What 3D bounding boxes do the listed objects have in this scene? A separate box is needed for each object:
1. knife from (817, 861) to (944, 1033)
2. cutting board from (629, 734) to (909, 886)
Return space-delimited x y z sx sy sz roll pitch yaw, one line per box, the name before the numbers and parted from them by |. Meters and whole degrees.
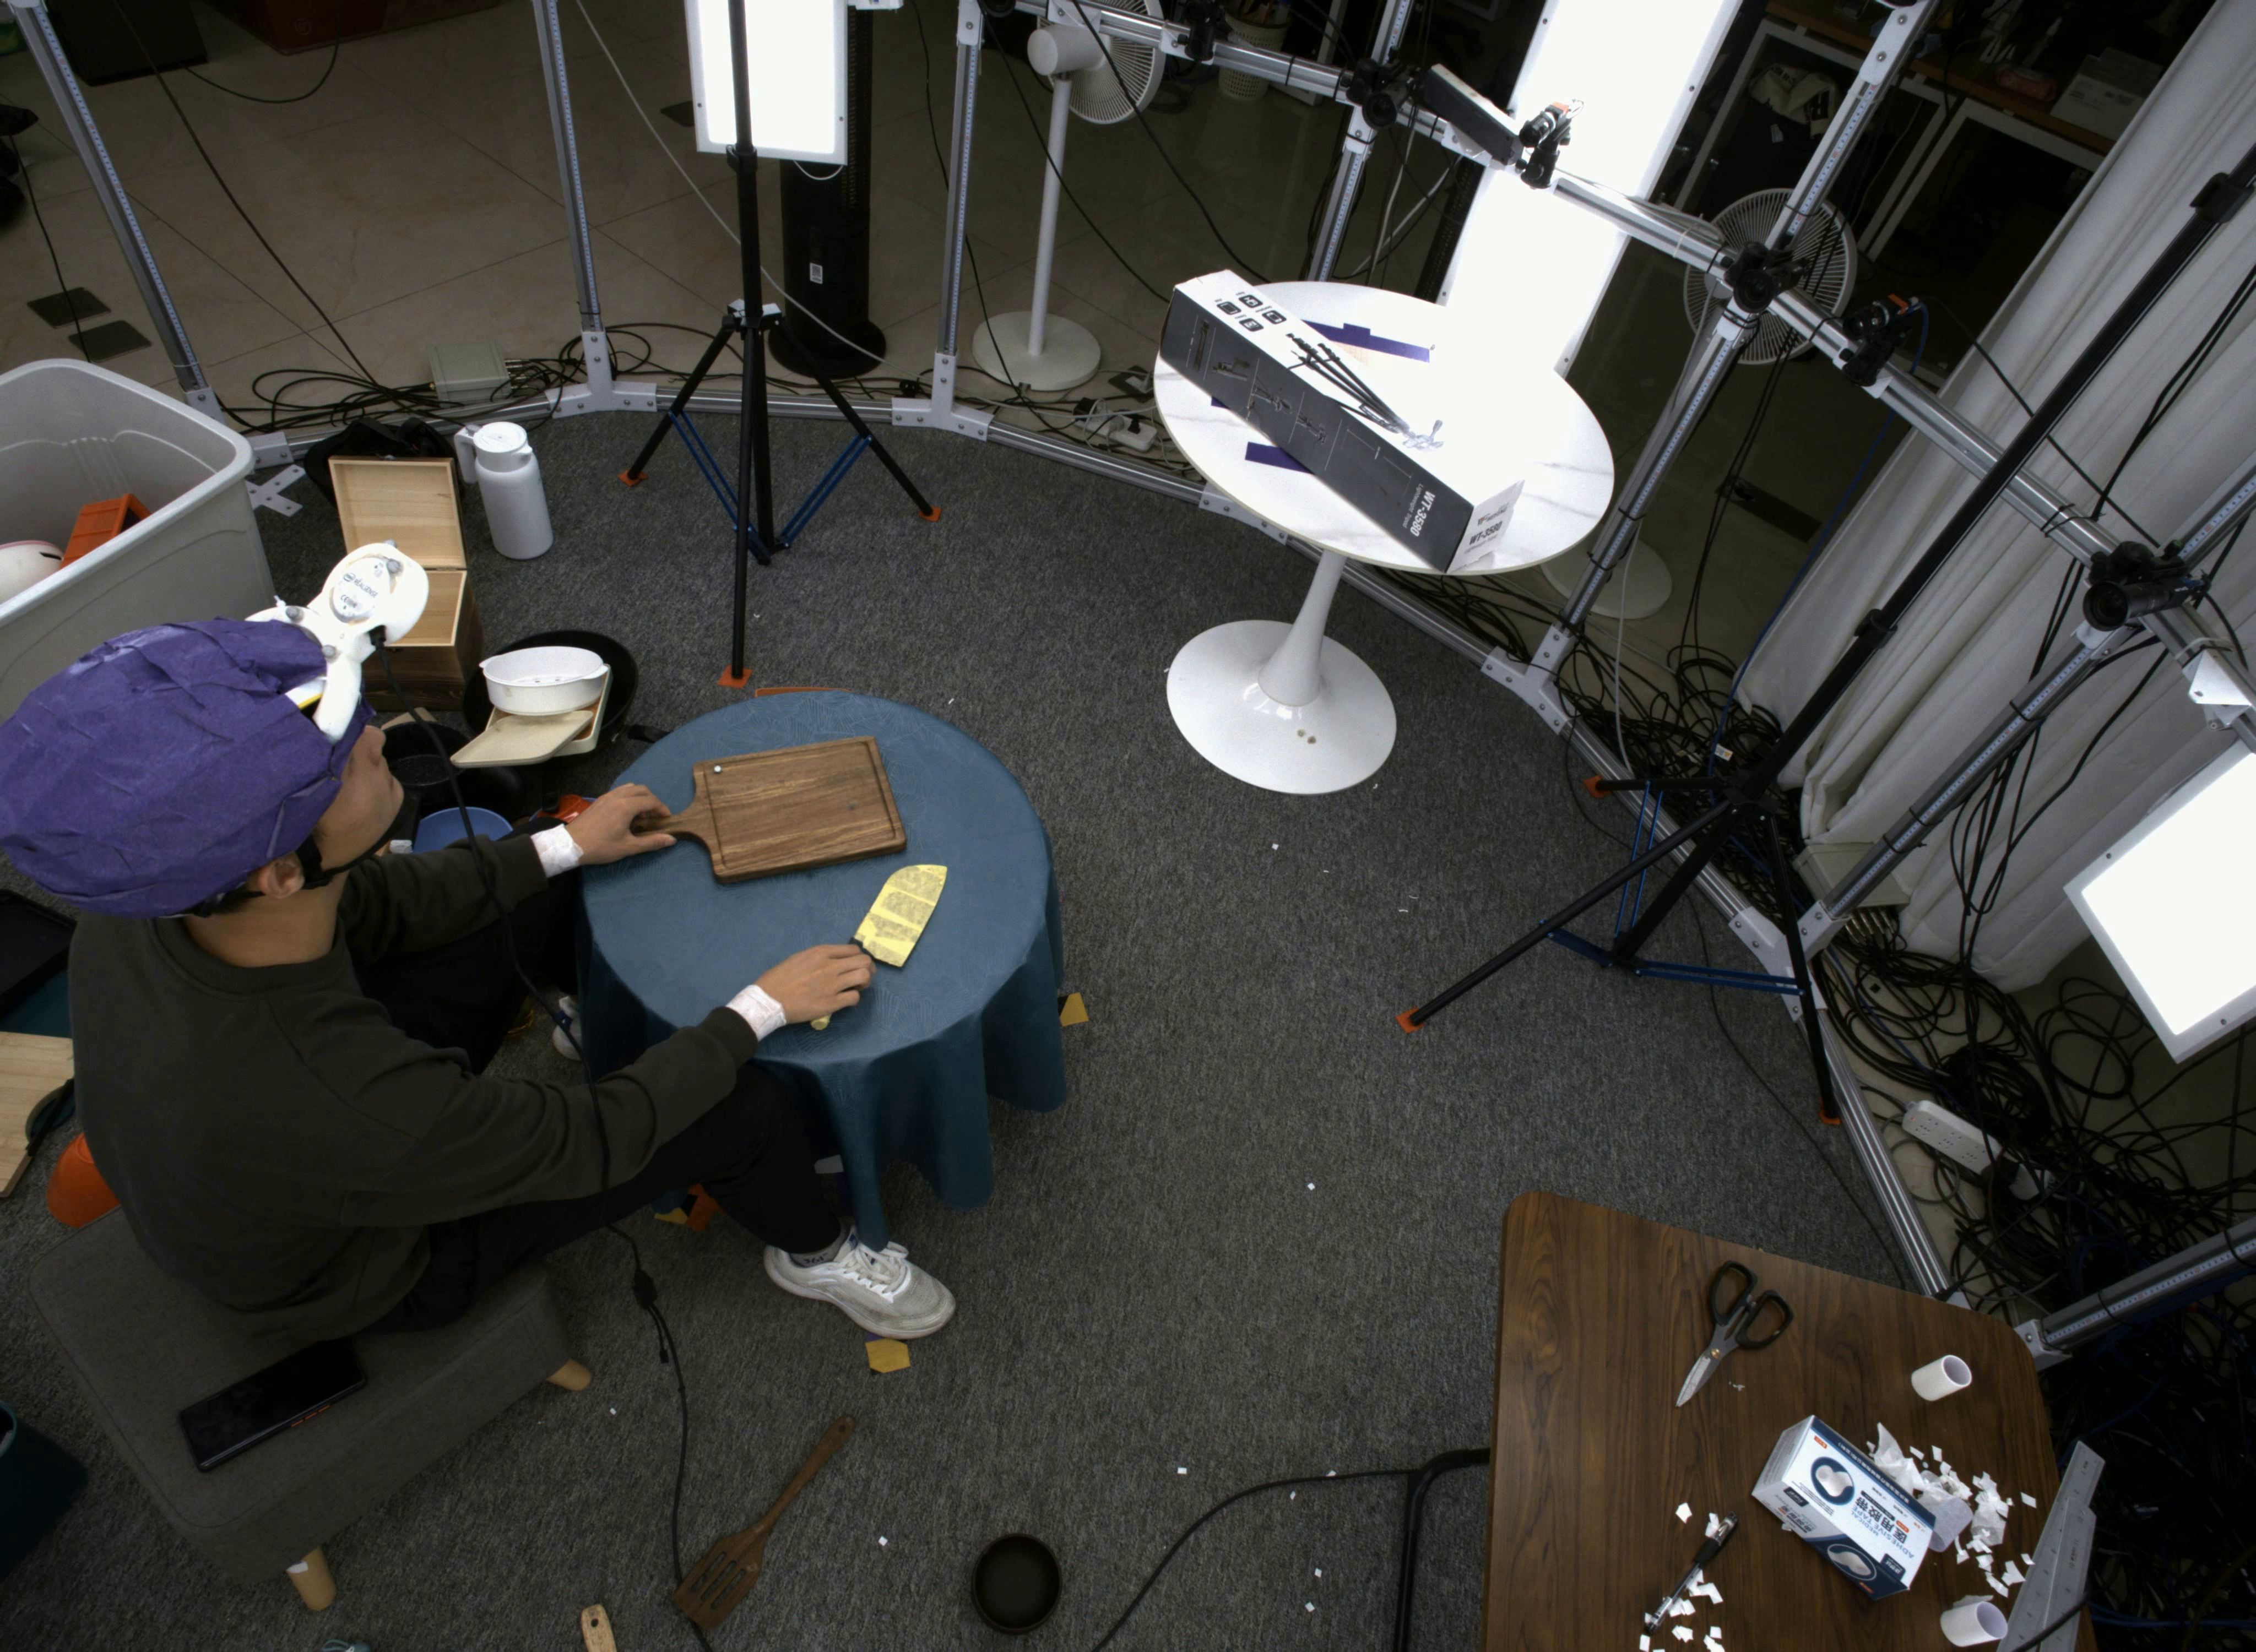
knife | -0.310 0.146 1.647 0.080 0.028 0.287 23 51 5
cutting board | -0.485 -0.019 1.720 0.354 0.023 0.196 -11 57 -21
